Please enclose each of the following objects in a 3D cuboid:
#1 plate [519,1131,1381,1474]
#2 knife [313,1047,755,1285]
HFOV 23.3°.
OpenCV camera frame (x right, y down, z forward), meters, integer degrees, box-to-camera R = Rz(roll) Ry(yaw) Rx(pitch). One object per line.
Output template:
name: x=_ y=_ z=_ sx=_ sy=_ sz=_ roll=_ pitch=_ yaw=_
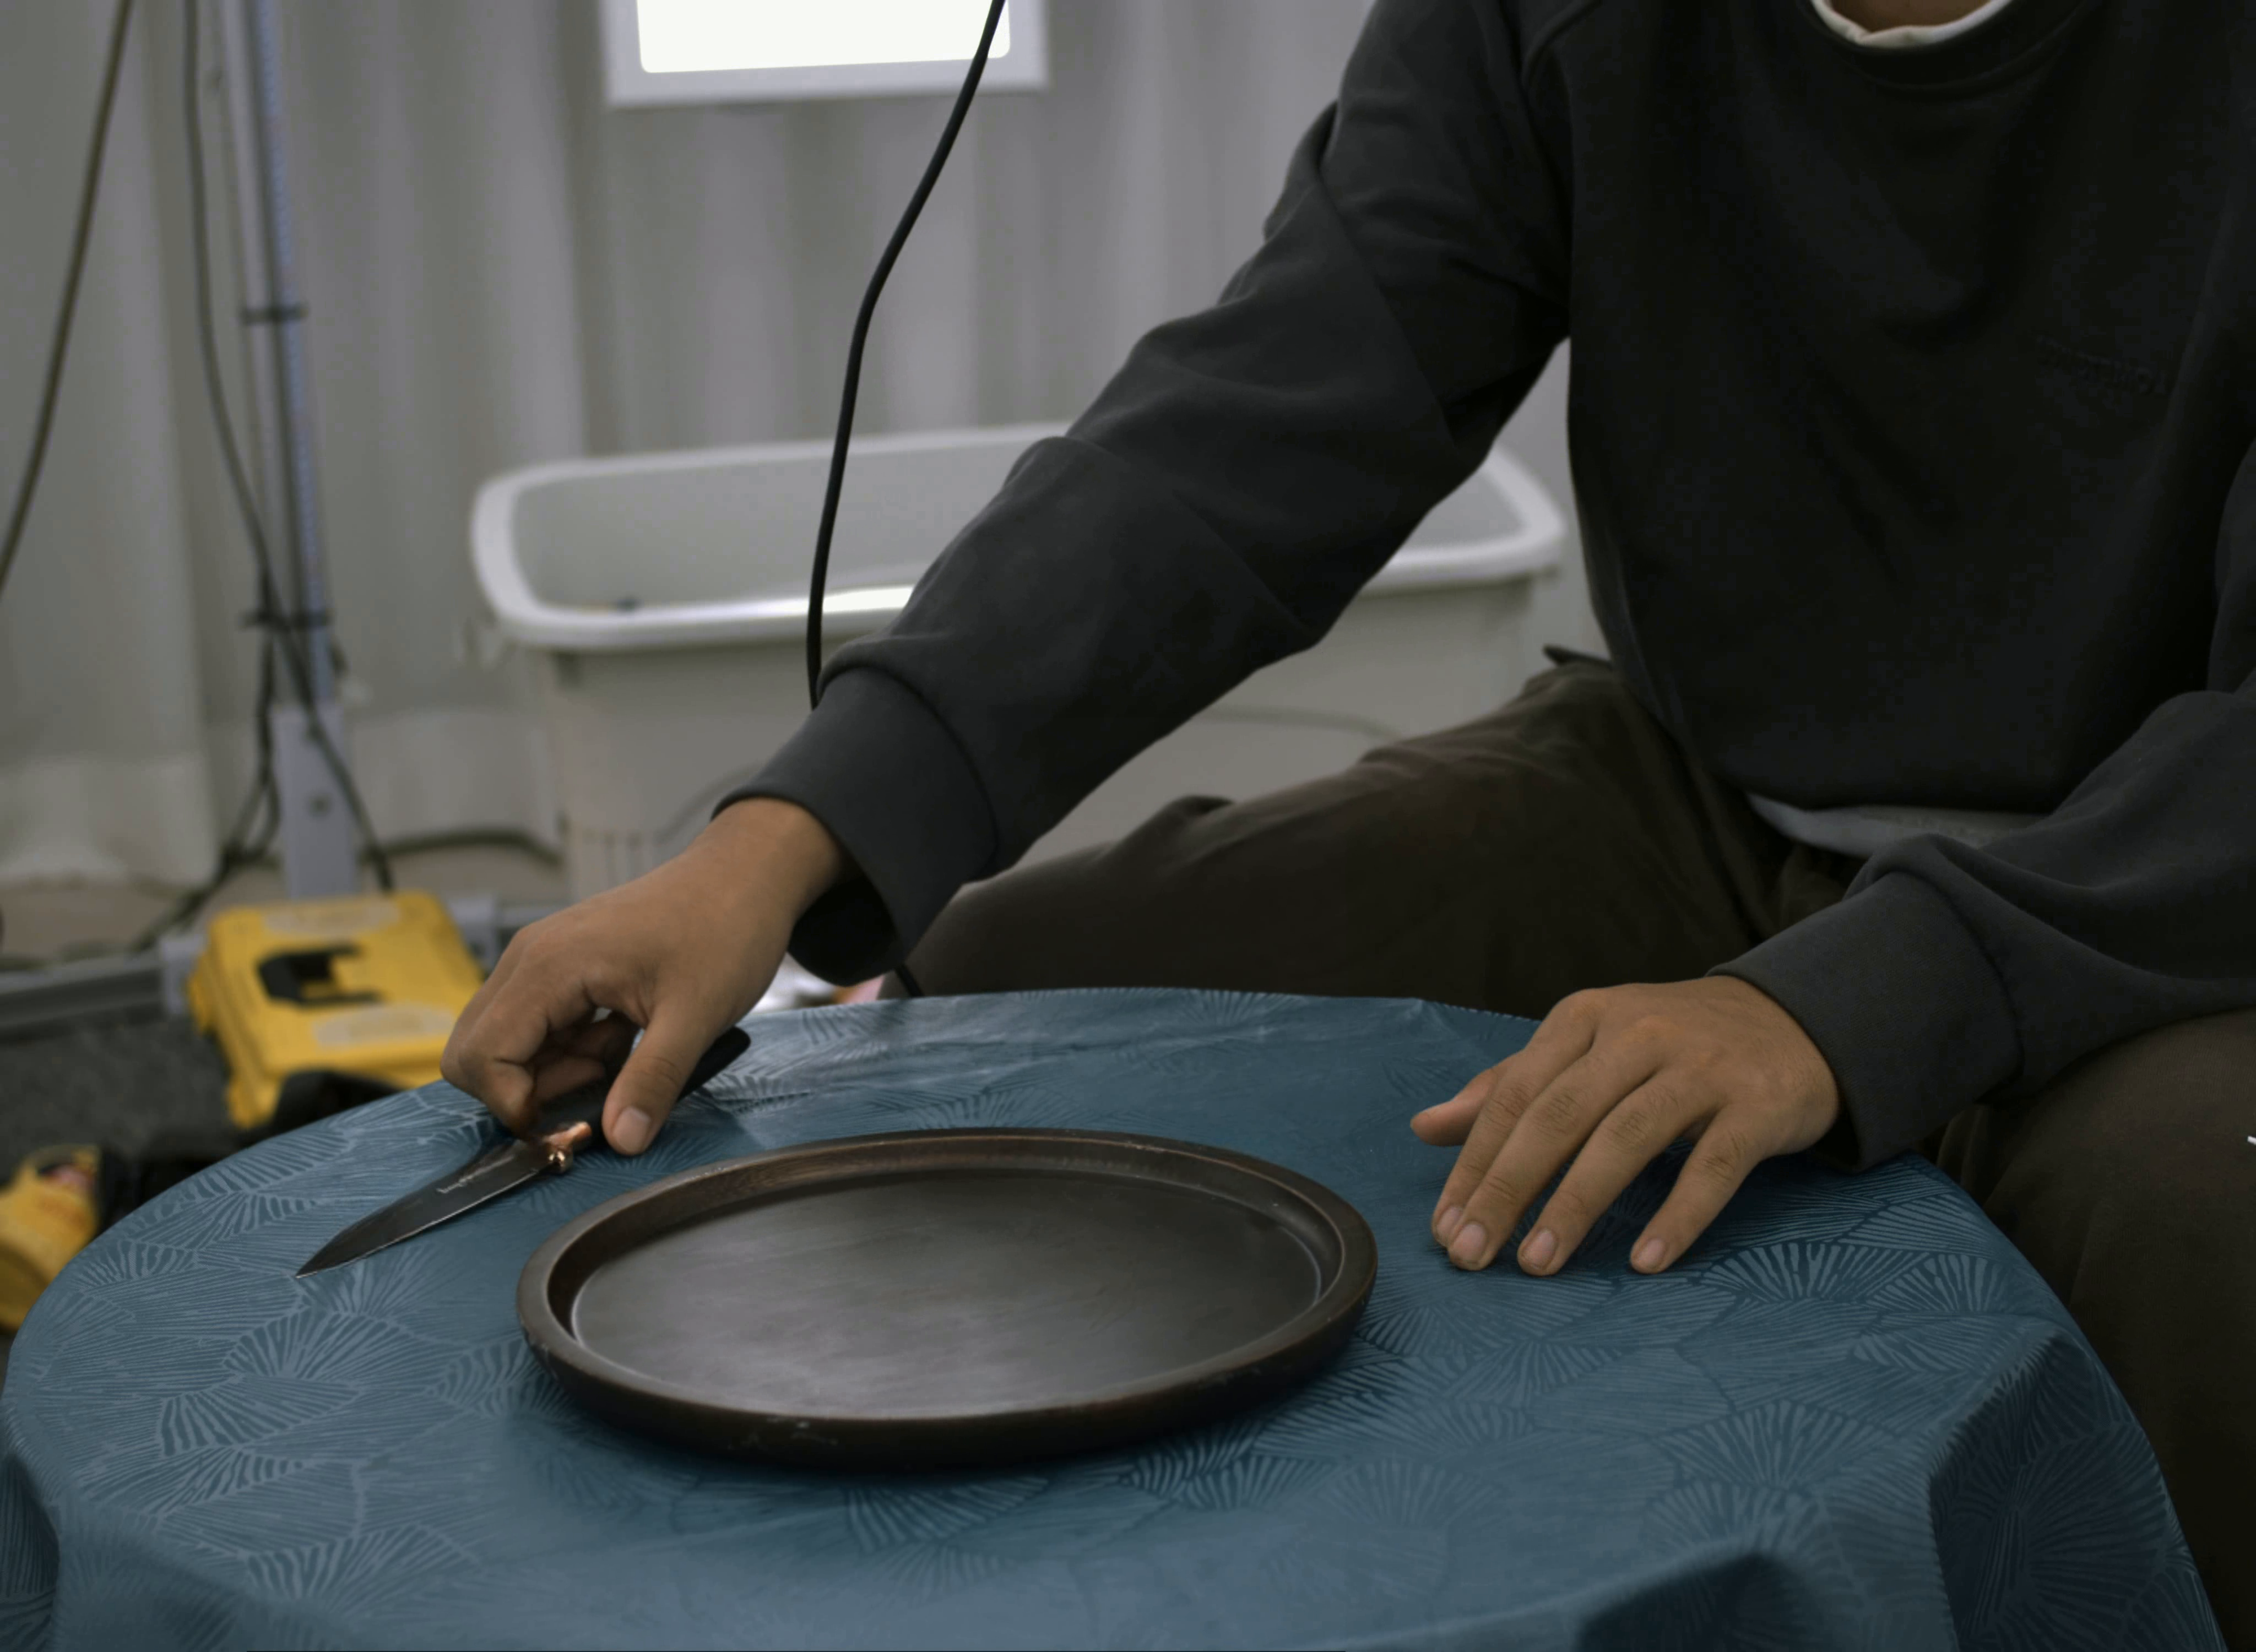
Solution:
plate: x=-0.051 y=0.137 z=1.599 sx=0.254 sy=0.029 sz=0.256 roll=-3 pitch=13 yaw=0
knife: x=-0.190 y=0.109 z=1.754 sx=0.026 sy=0.017 sz=0.225 roll=13 pitch=22 yaw=31
